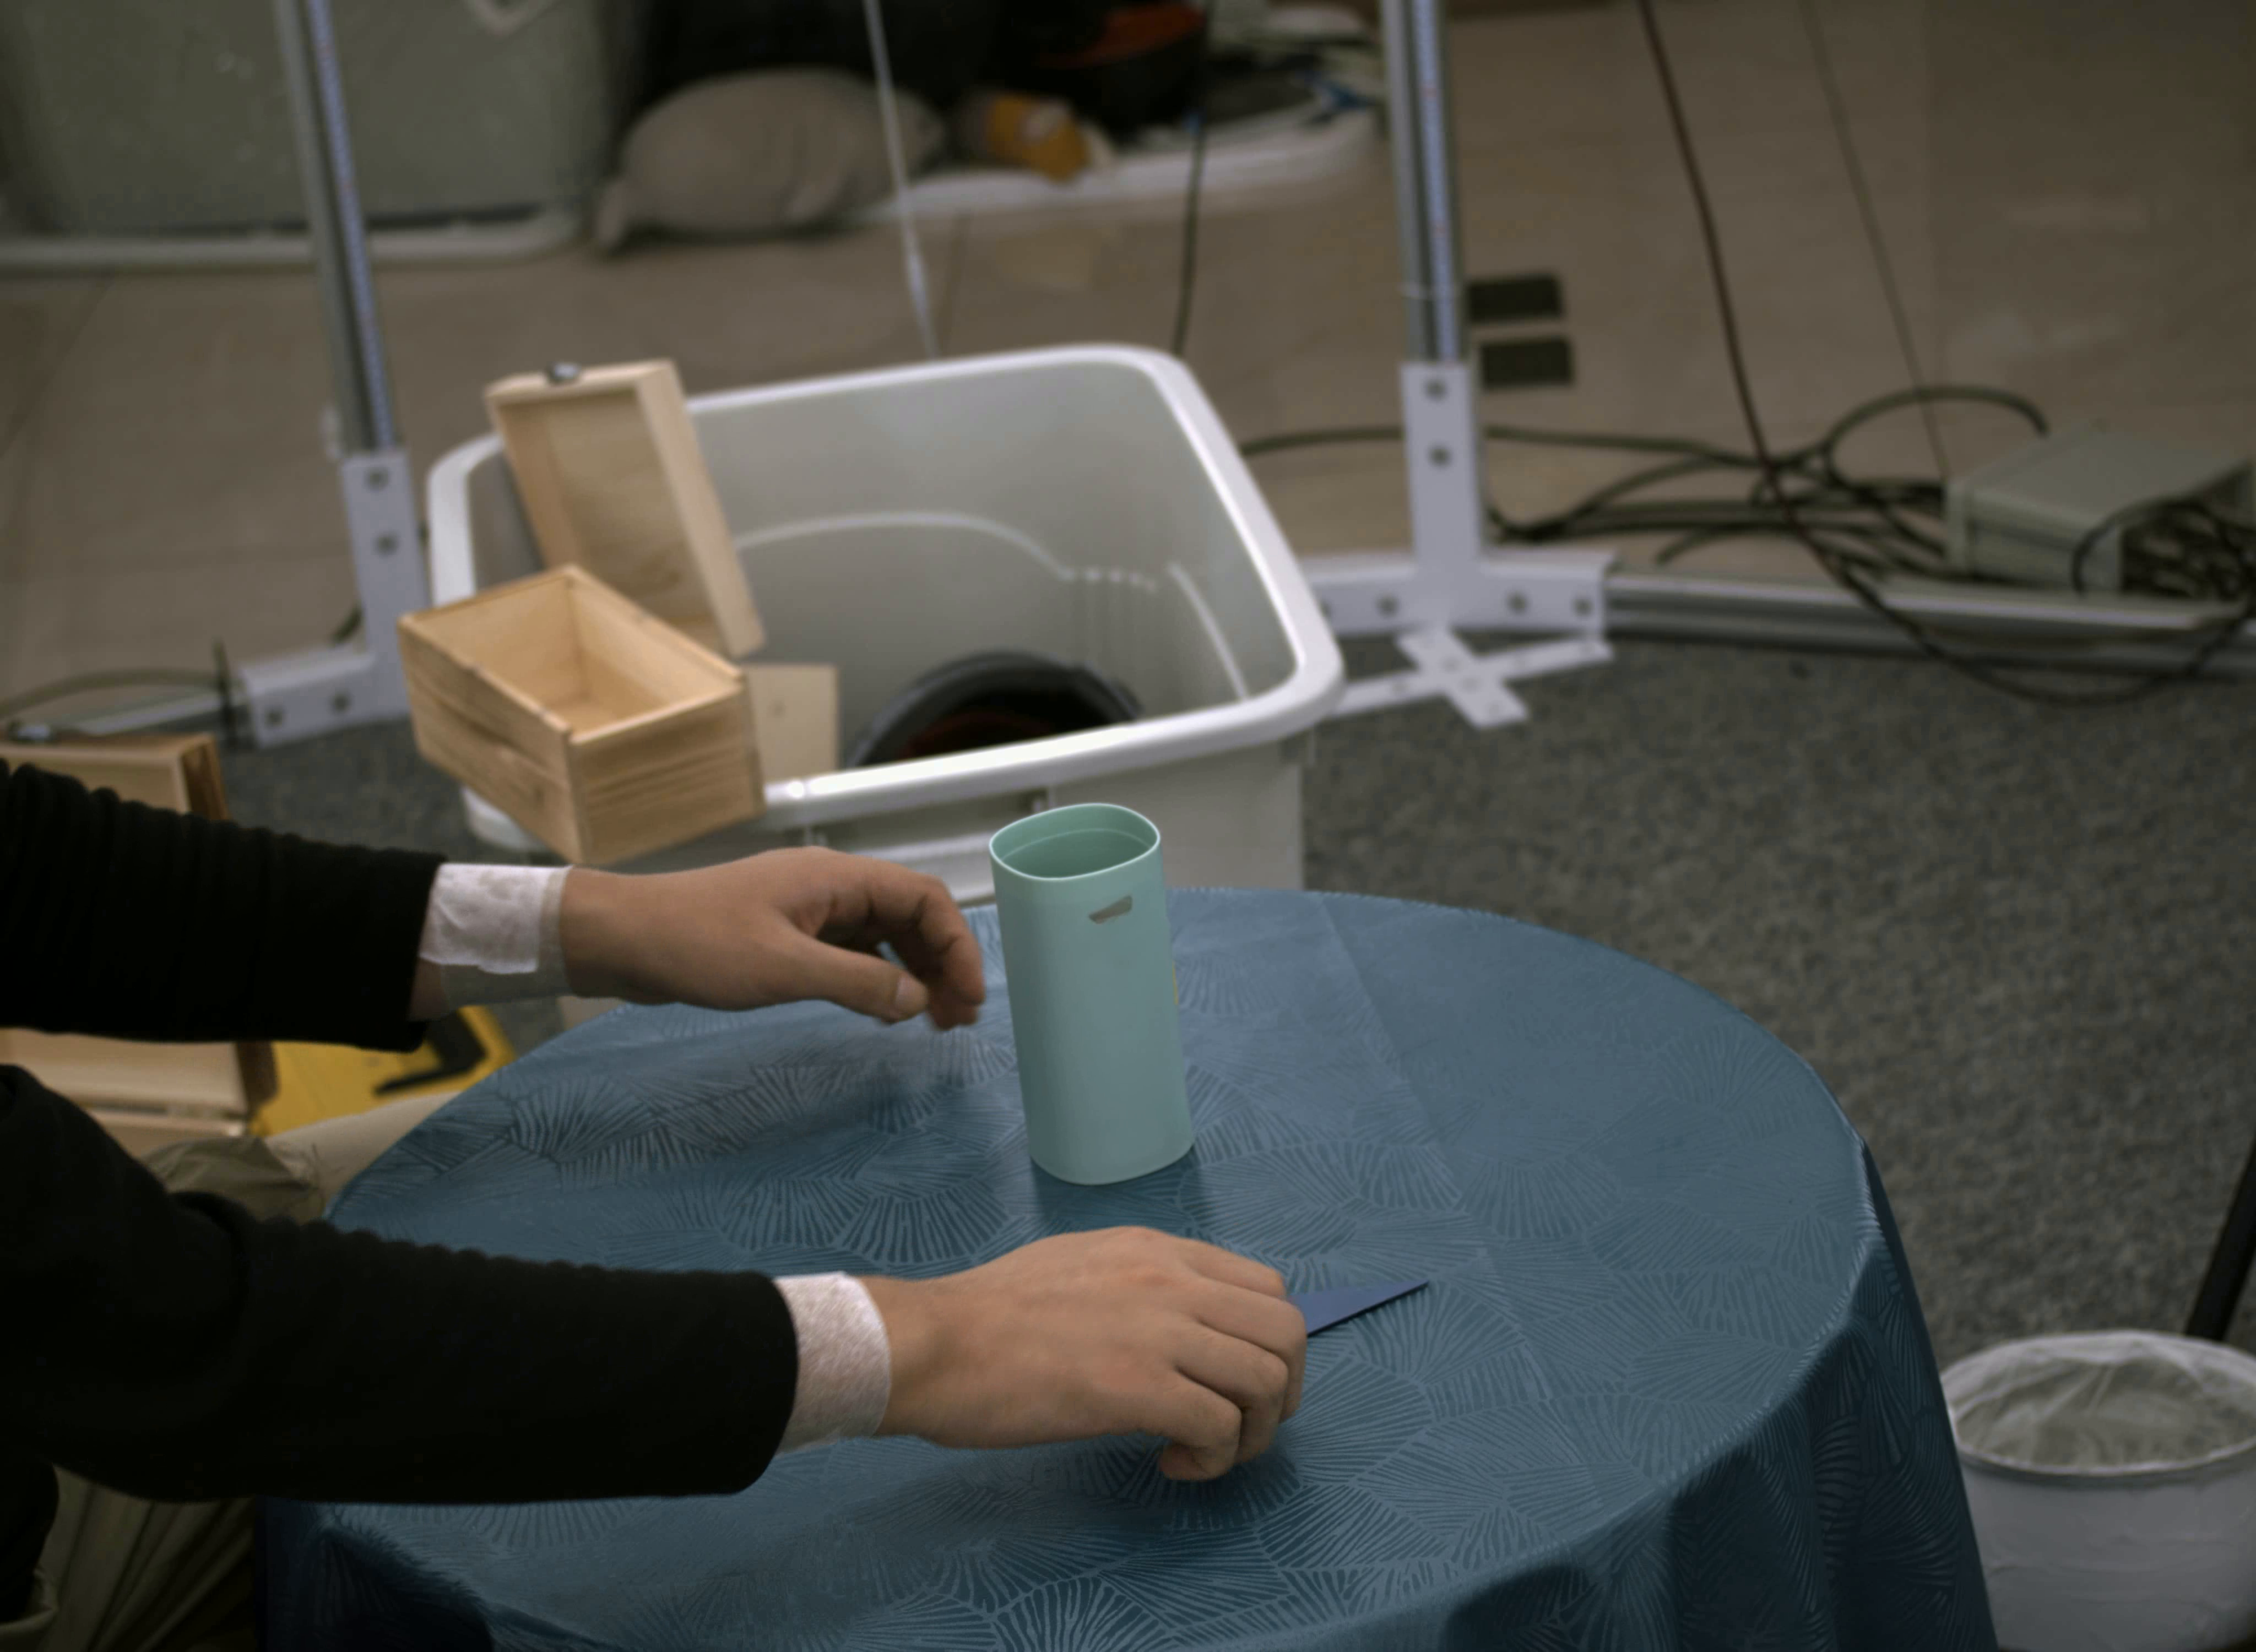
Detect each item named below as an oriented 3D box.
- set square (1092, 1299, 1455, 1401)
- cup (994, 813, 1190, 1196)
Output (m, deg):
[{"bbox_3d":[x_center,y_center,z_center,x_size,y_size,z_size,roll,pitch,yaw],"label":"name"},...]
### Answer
[{"bbox_3d":[0.052,0.187,2.028,0.132,0.006,0.060,-5,24,3],"label":"set square"},{"bbox_3d":[-0.014,0.068,2.156,0.066,0.134,0.066,-5,26,2],"label":"cup"}]
